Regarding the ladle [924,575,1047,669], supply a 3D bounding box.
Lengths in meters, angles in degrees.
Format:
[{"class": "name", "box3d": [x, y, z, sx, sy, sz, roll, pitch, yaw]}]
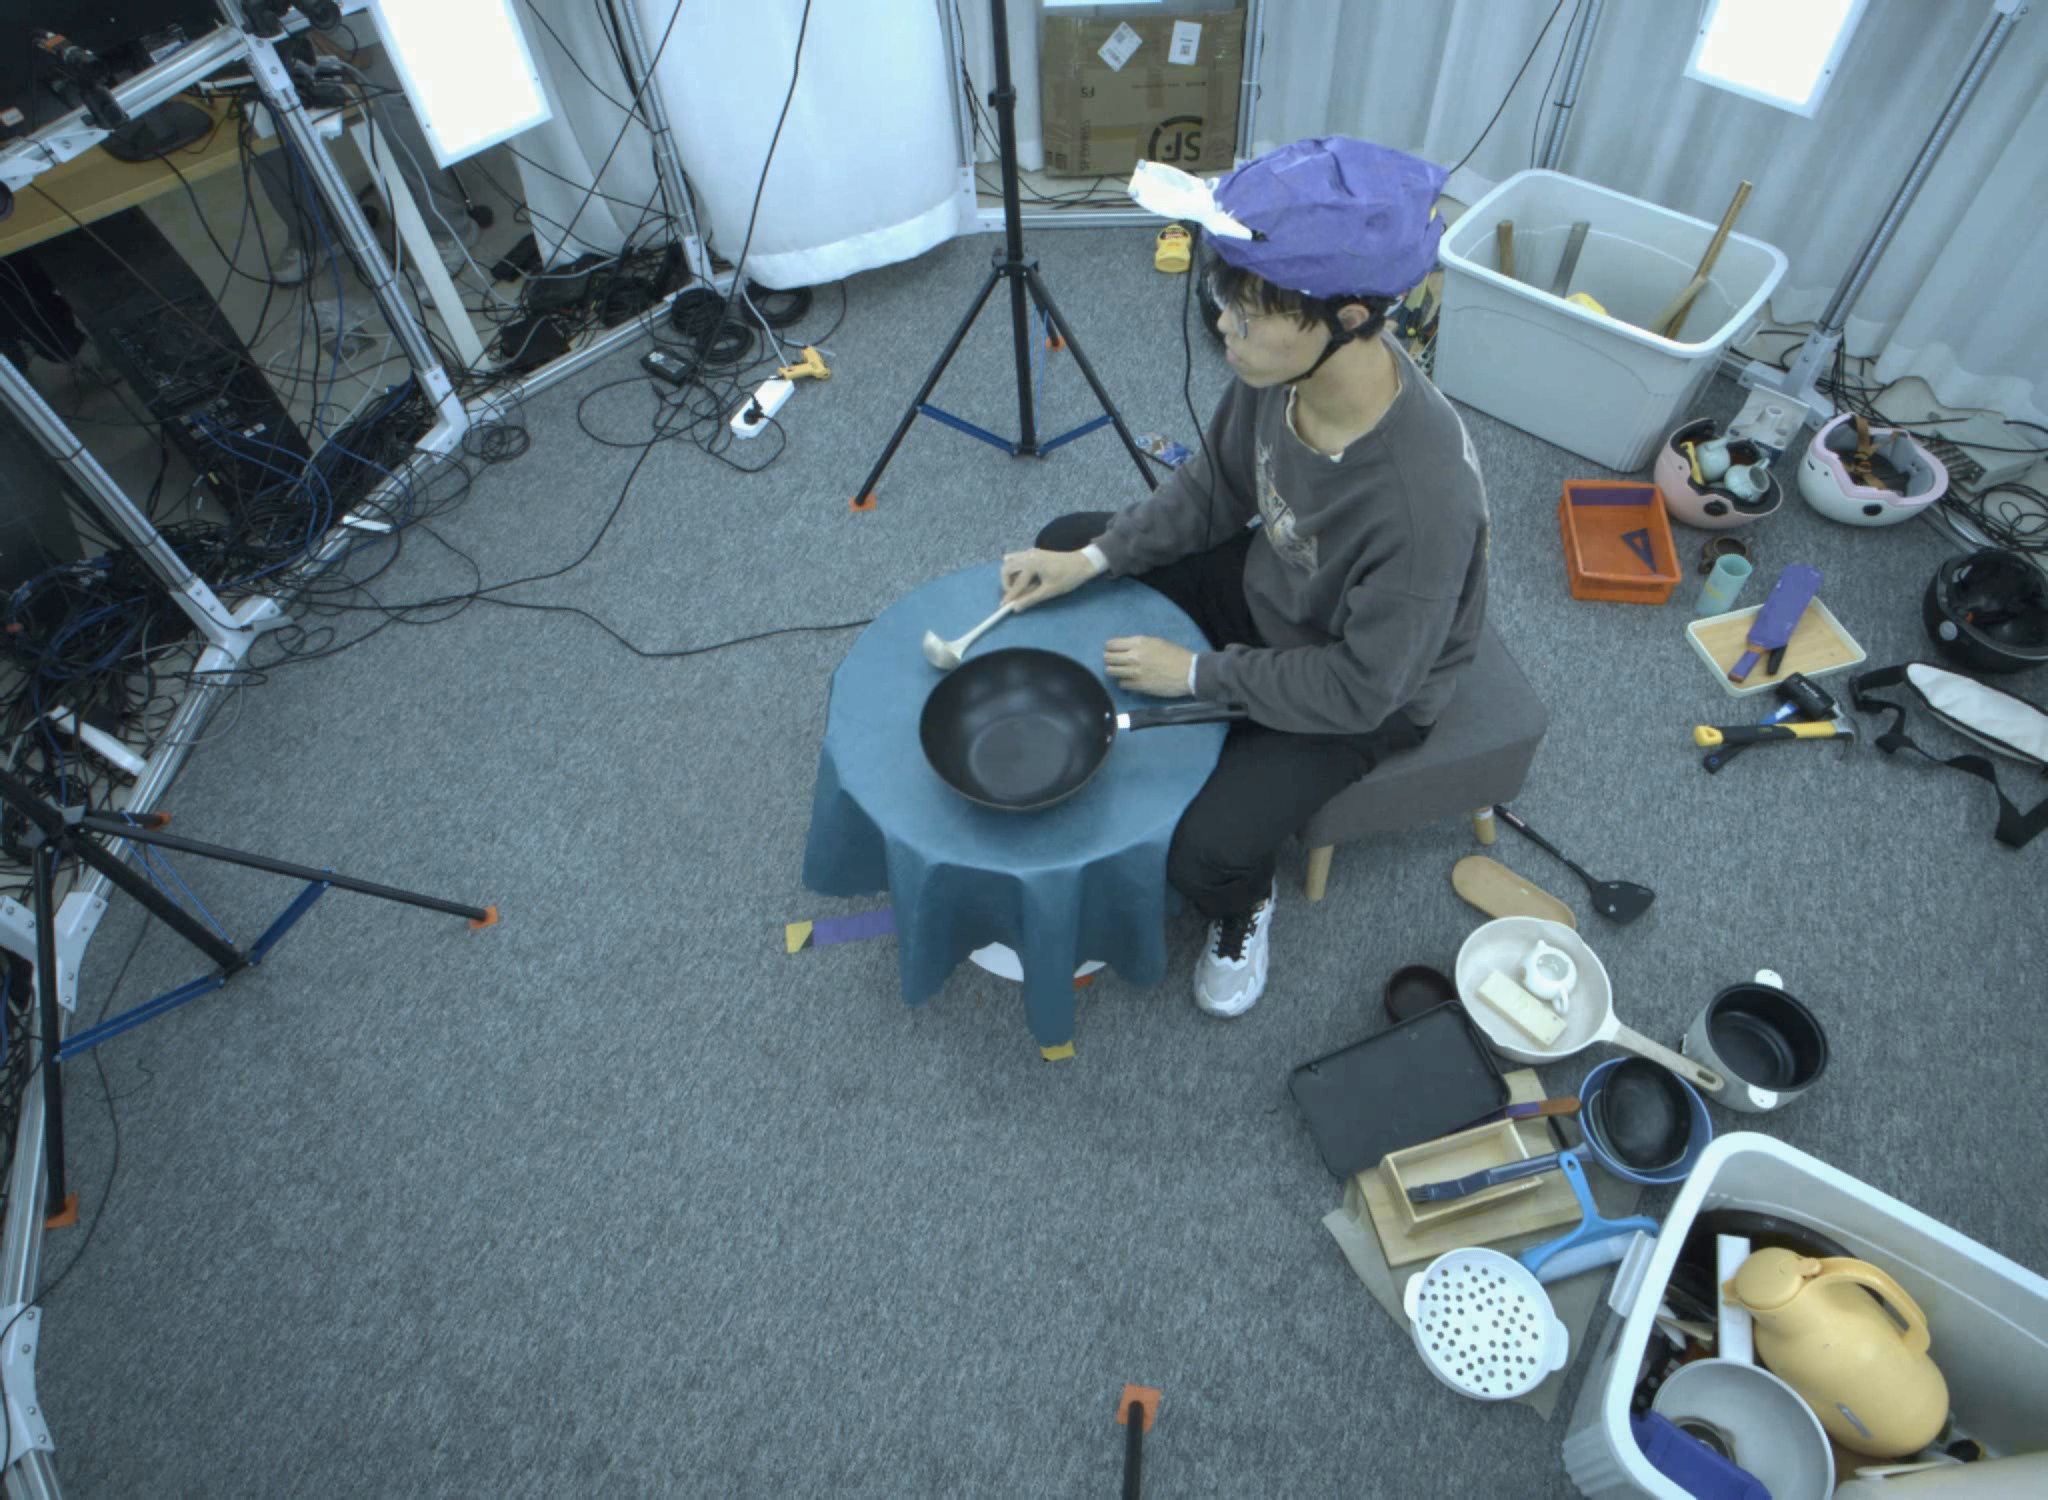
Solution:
[{"class": "ladle", "box3d": [-0.051, -0.217, 1.896, 0.071, 0.073, 0.256, 41, 66, 16]}]

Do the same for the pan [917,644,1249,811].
[{"class": "pan", "box3d": [0.083, -0.023, 1.747, 0.464, 0.088, 0.285, -3, 54, -1]}]
